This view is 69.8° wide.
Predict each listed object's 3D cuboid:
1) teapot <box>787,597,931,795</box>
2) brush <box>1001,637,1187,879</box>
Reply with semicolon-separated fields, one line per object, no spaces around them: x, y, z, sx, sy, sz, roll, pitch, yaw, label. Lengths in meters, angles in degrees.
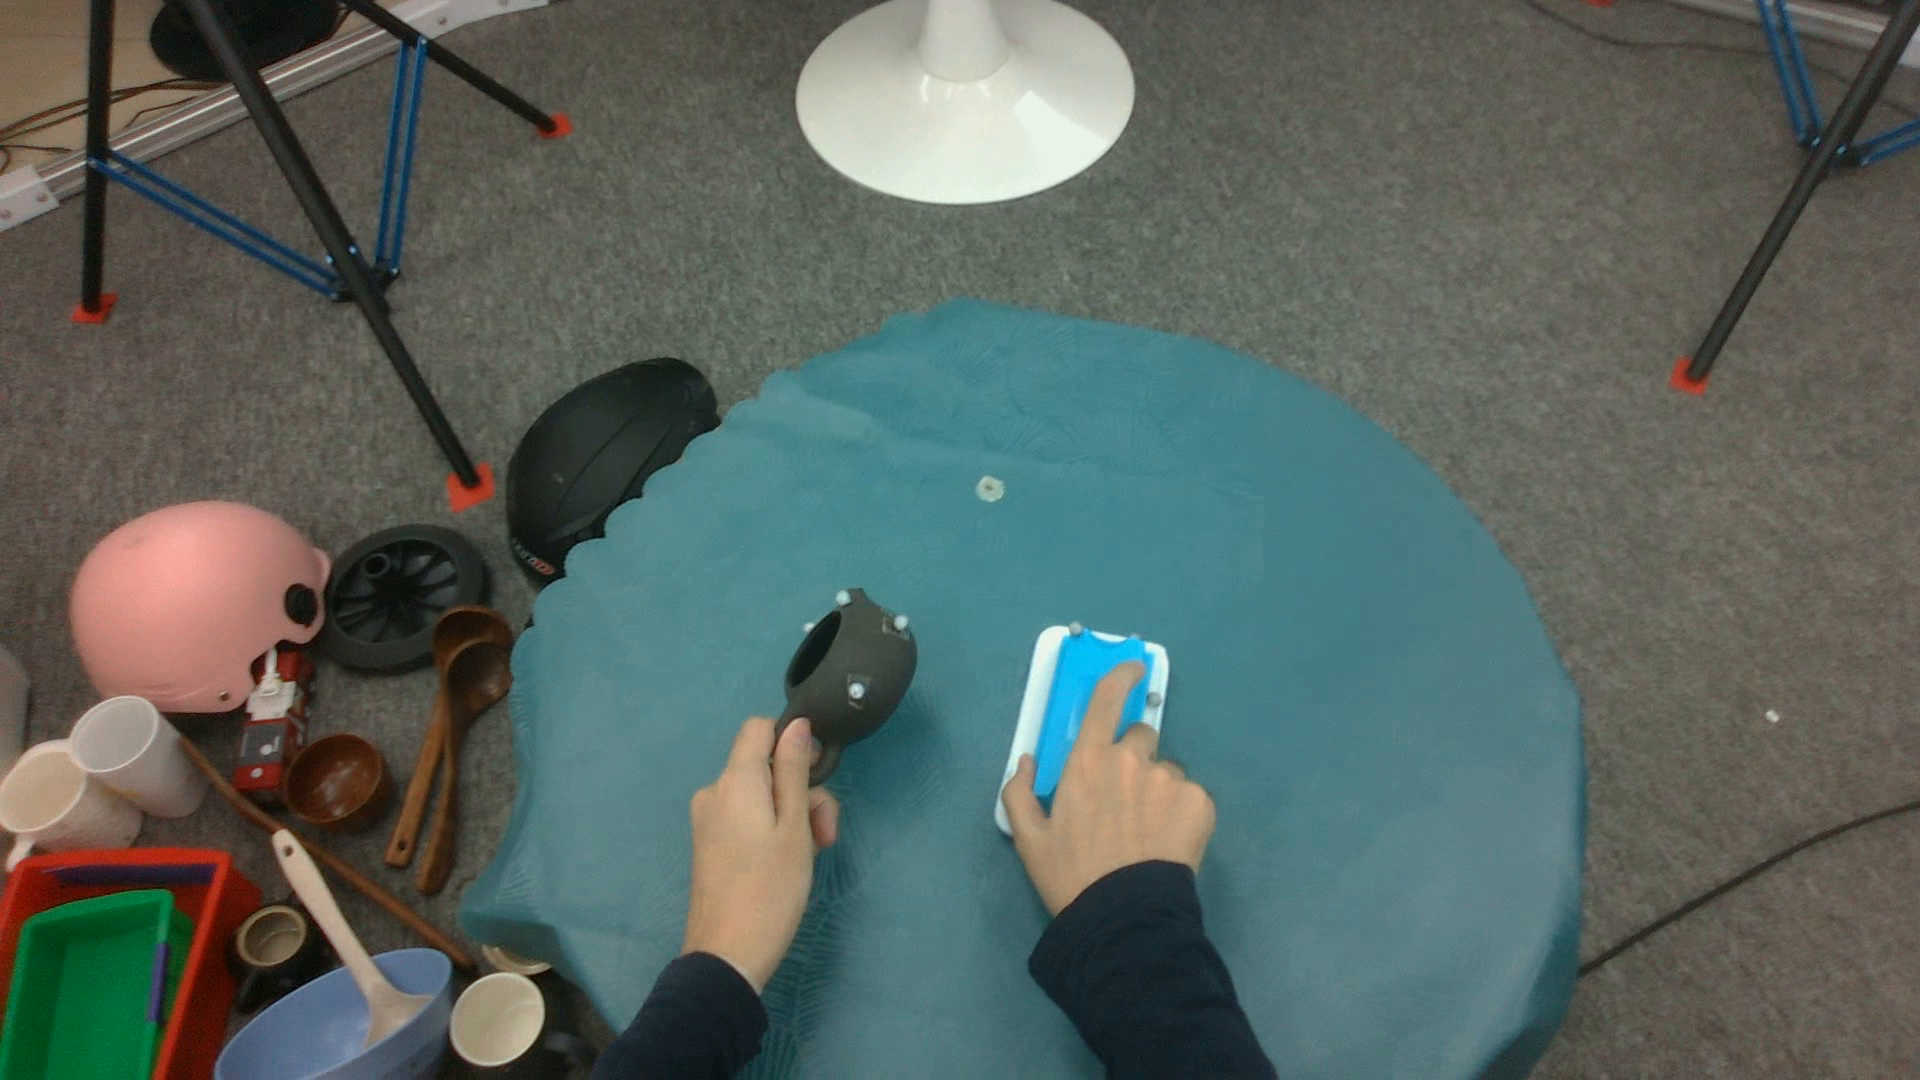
-0.059;0.089;0.767;0.053;0.082;0.114;37;65;-14;teapot
0.076;0.113;0.770;0.084;0.055;0.144;11;54;14;brush
